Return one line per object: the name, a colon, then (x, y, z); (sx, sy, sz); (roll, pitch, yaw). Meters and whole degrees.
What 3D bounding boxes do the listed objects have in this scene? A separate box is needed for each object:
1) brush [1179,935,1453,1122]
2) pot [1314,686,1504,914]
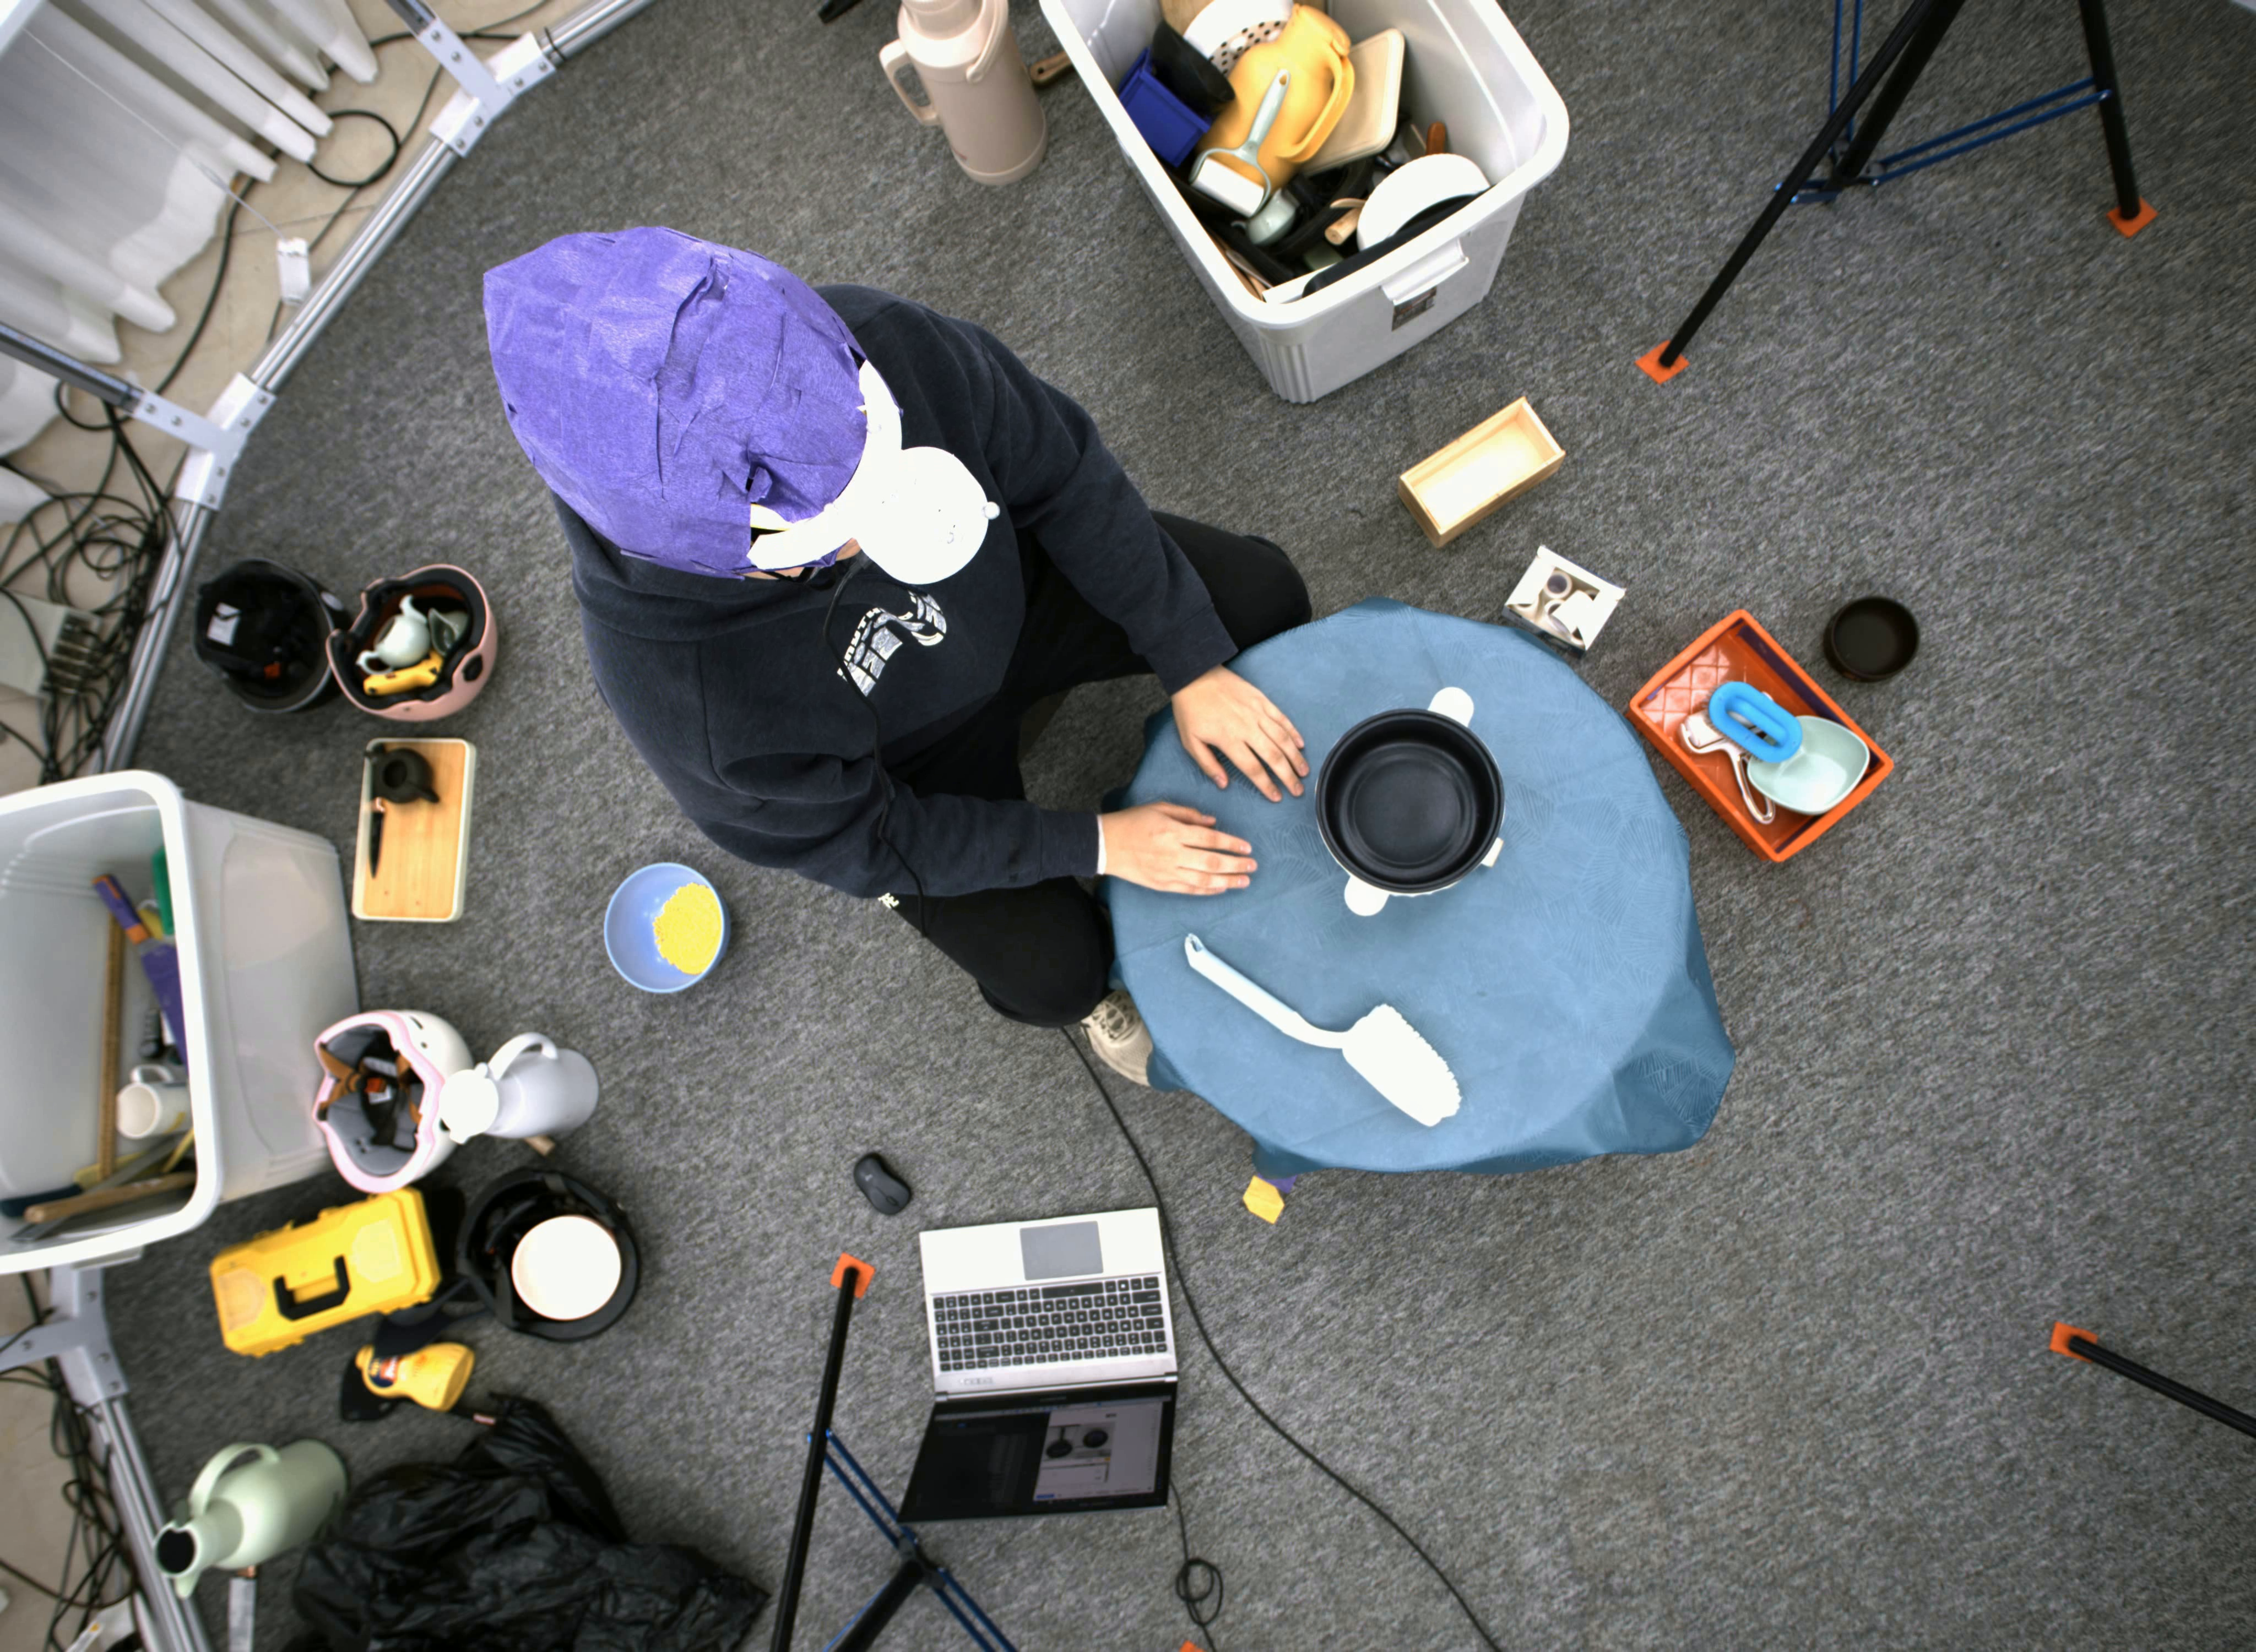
brush: (0.195, 0.191, 1.427); (0.324, 0.083, 0.085); (34, 95, 10)
pot: (0.288, -0.019, 1.392); (0.190, 0.143, 0.240); (24, 91, 15)
